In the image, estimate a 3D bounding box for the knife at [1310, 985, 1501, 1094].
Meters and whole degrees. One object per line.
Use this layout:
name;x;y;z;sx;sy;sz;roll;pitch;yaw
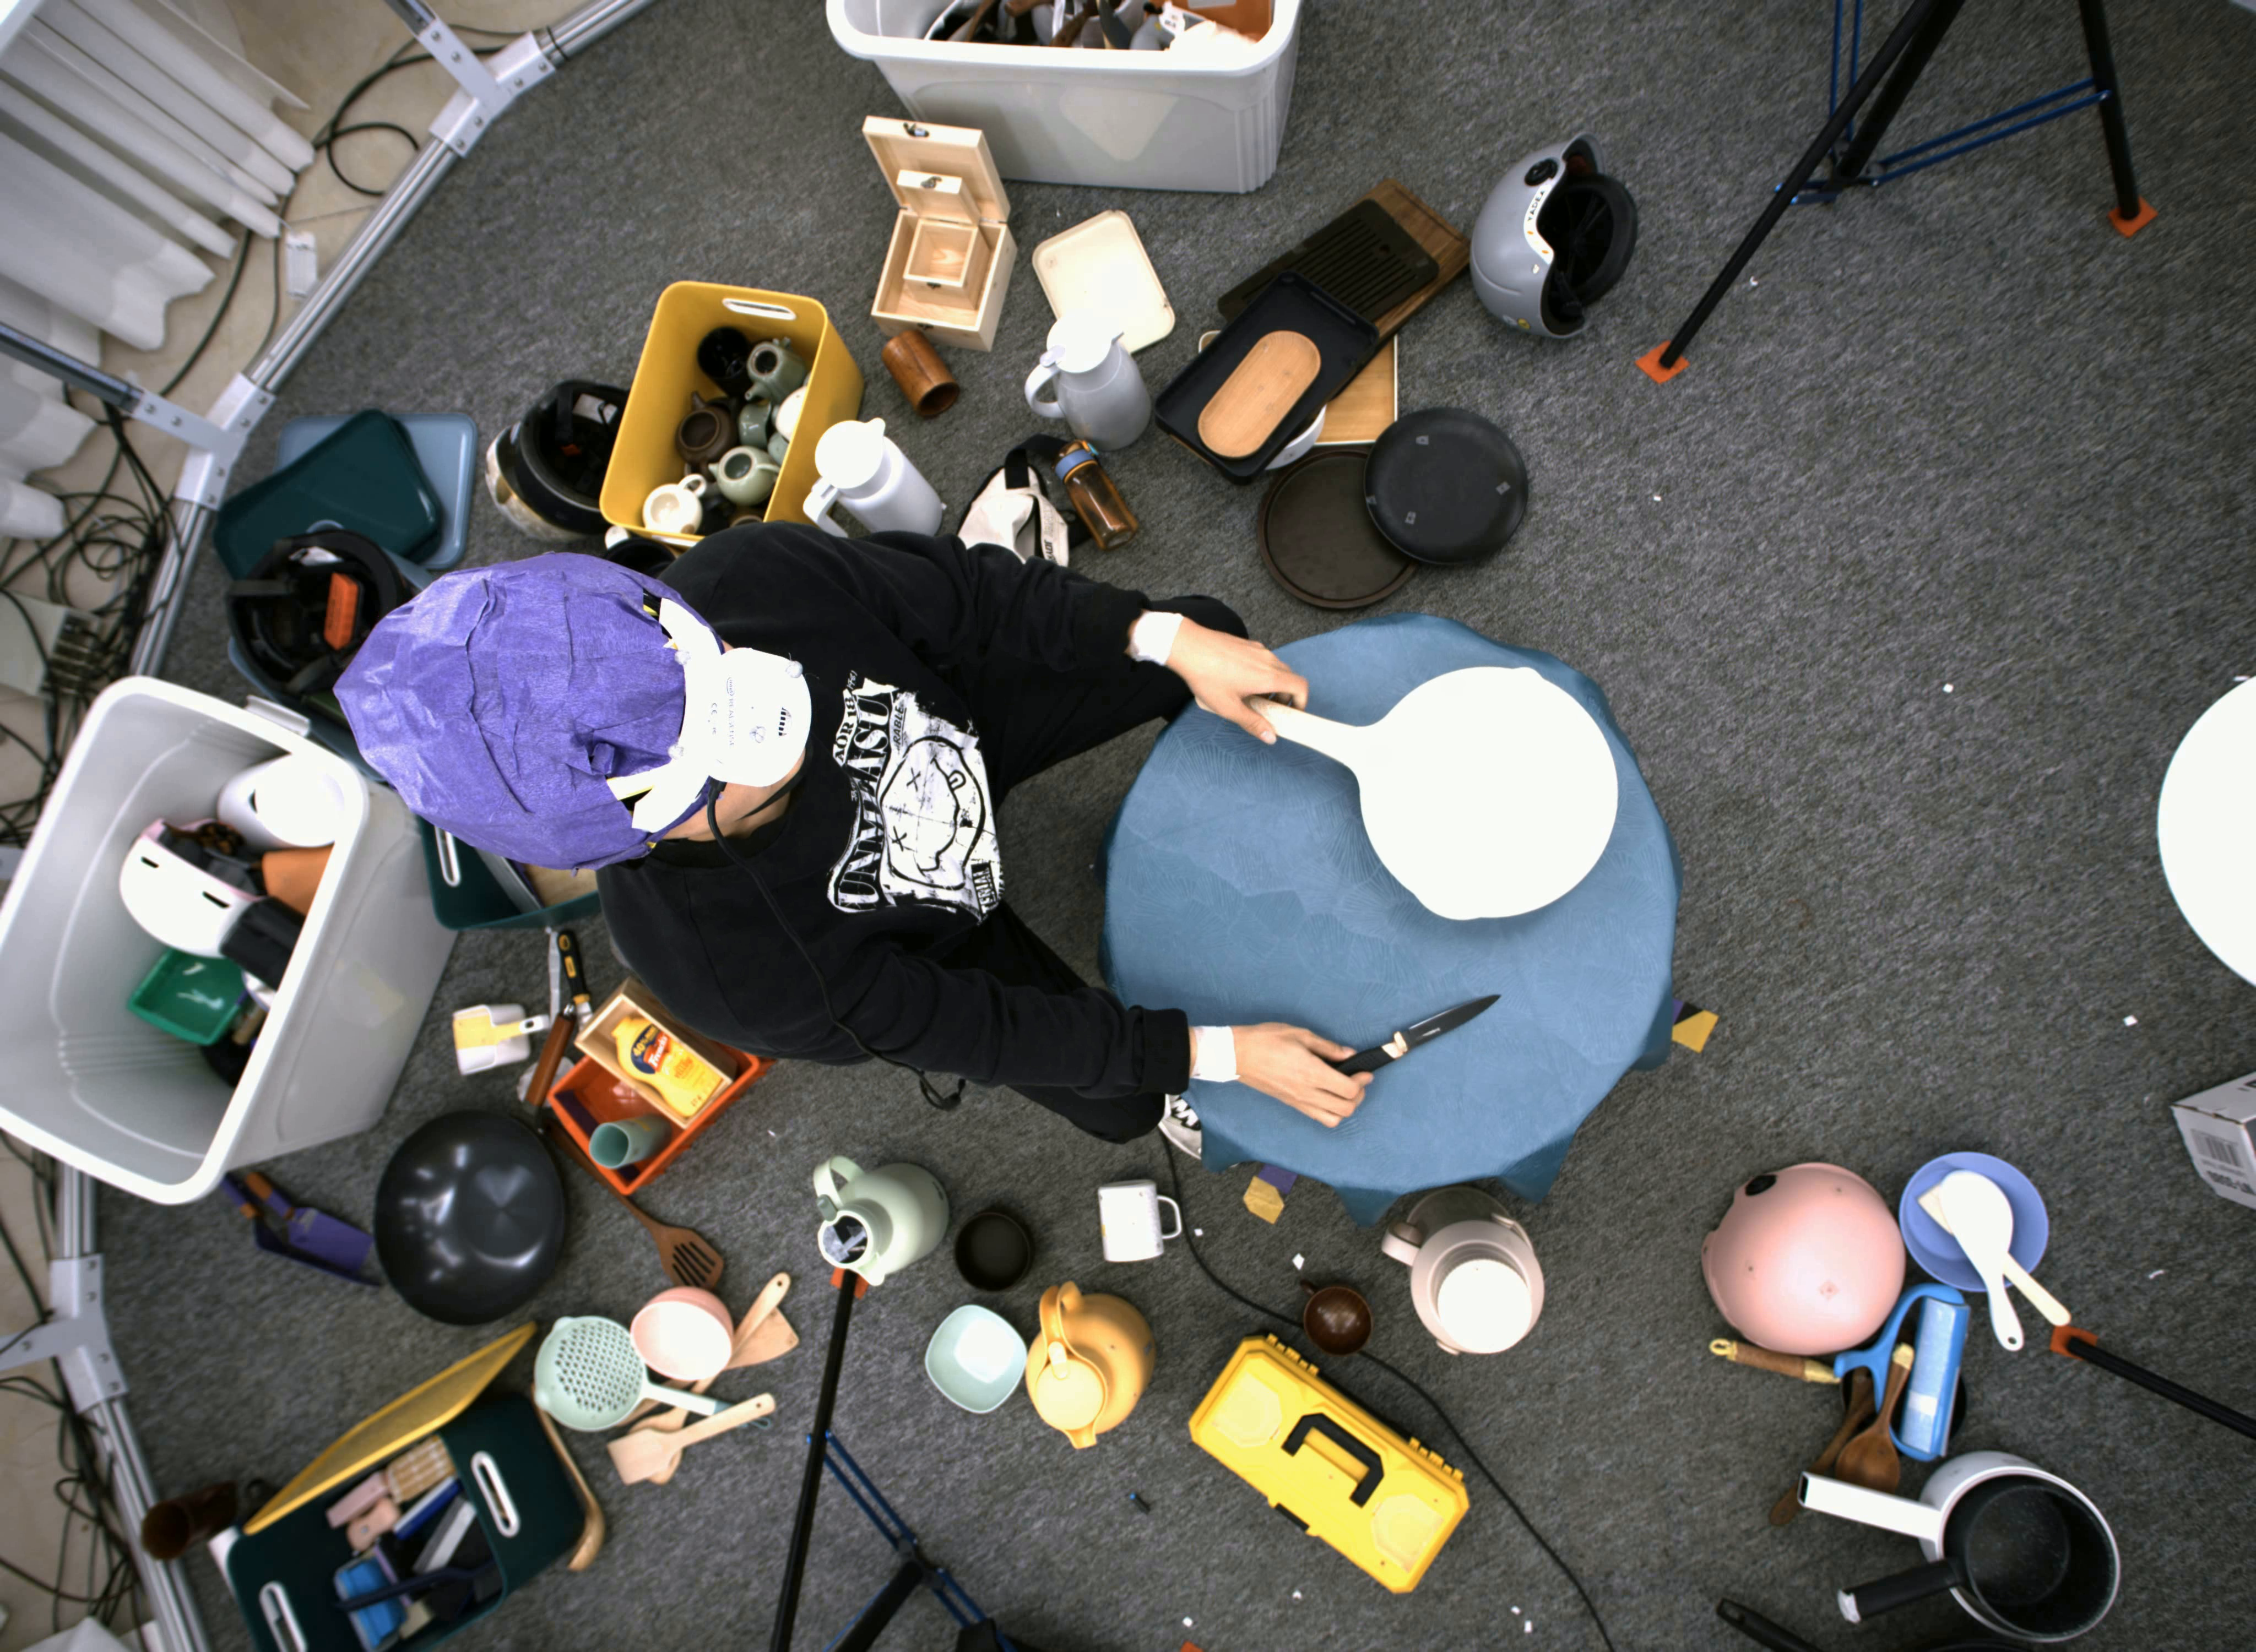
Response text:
knife;0.290;0.221;1.436;0.226;0.017;0.026;-27;86;3

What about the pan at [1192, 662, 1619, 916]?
pan;0.279;-0.066;1.416;0.435;0.102;0.263;19;92;11
